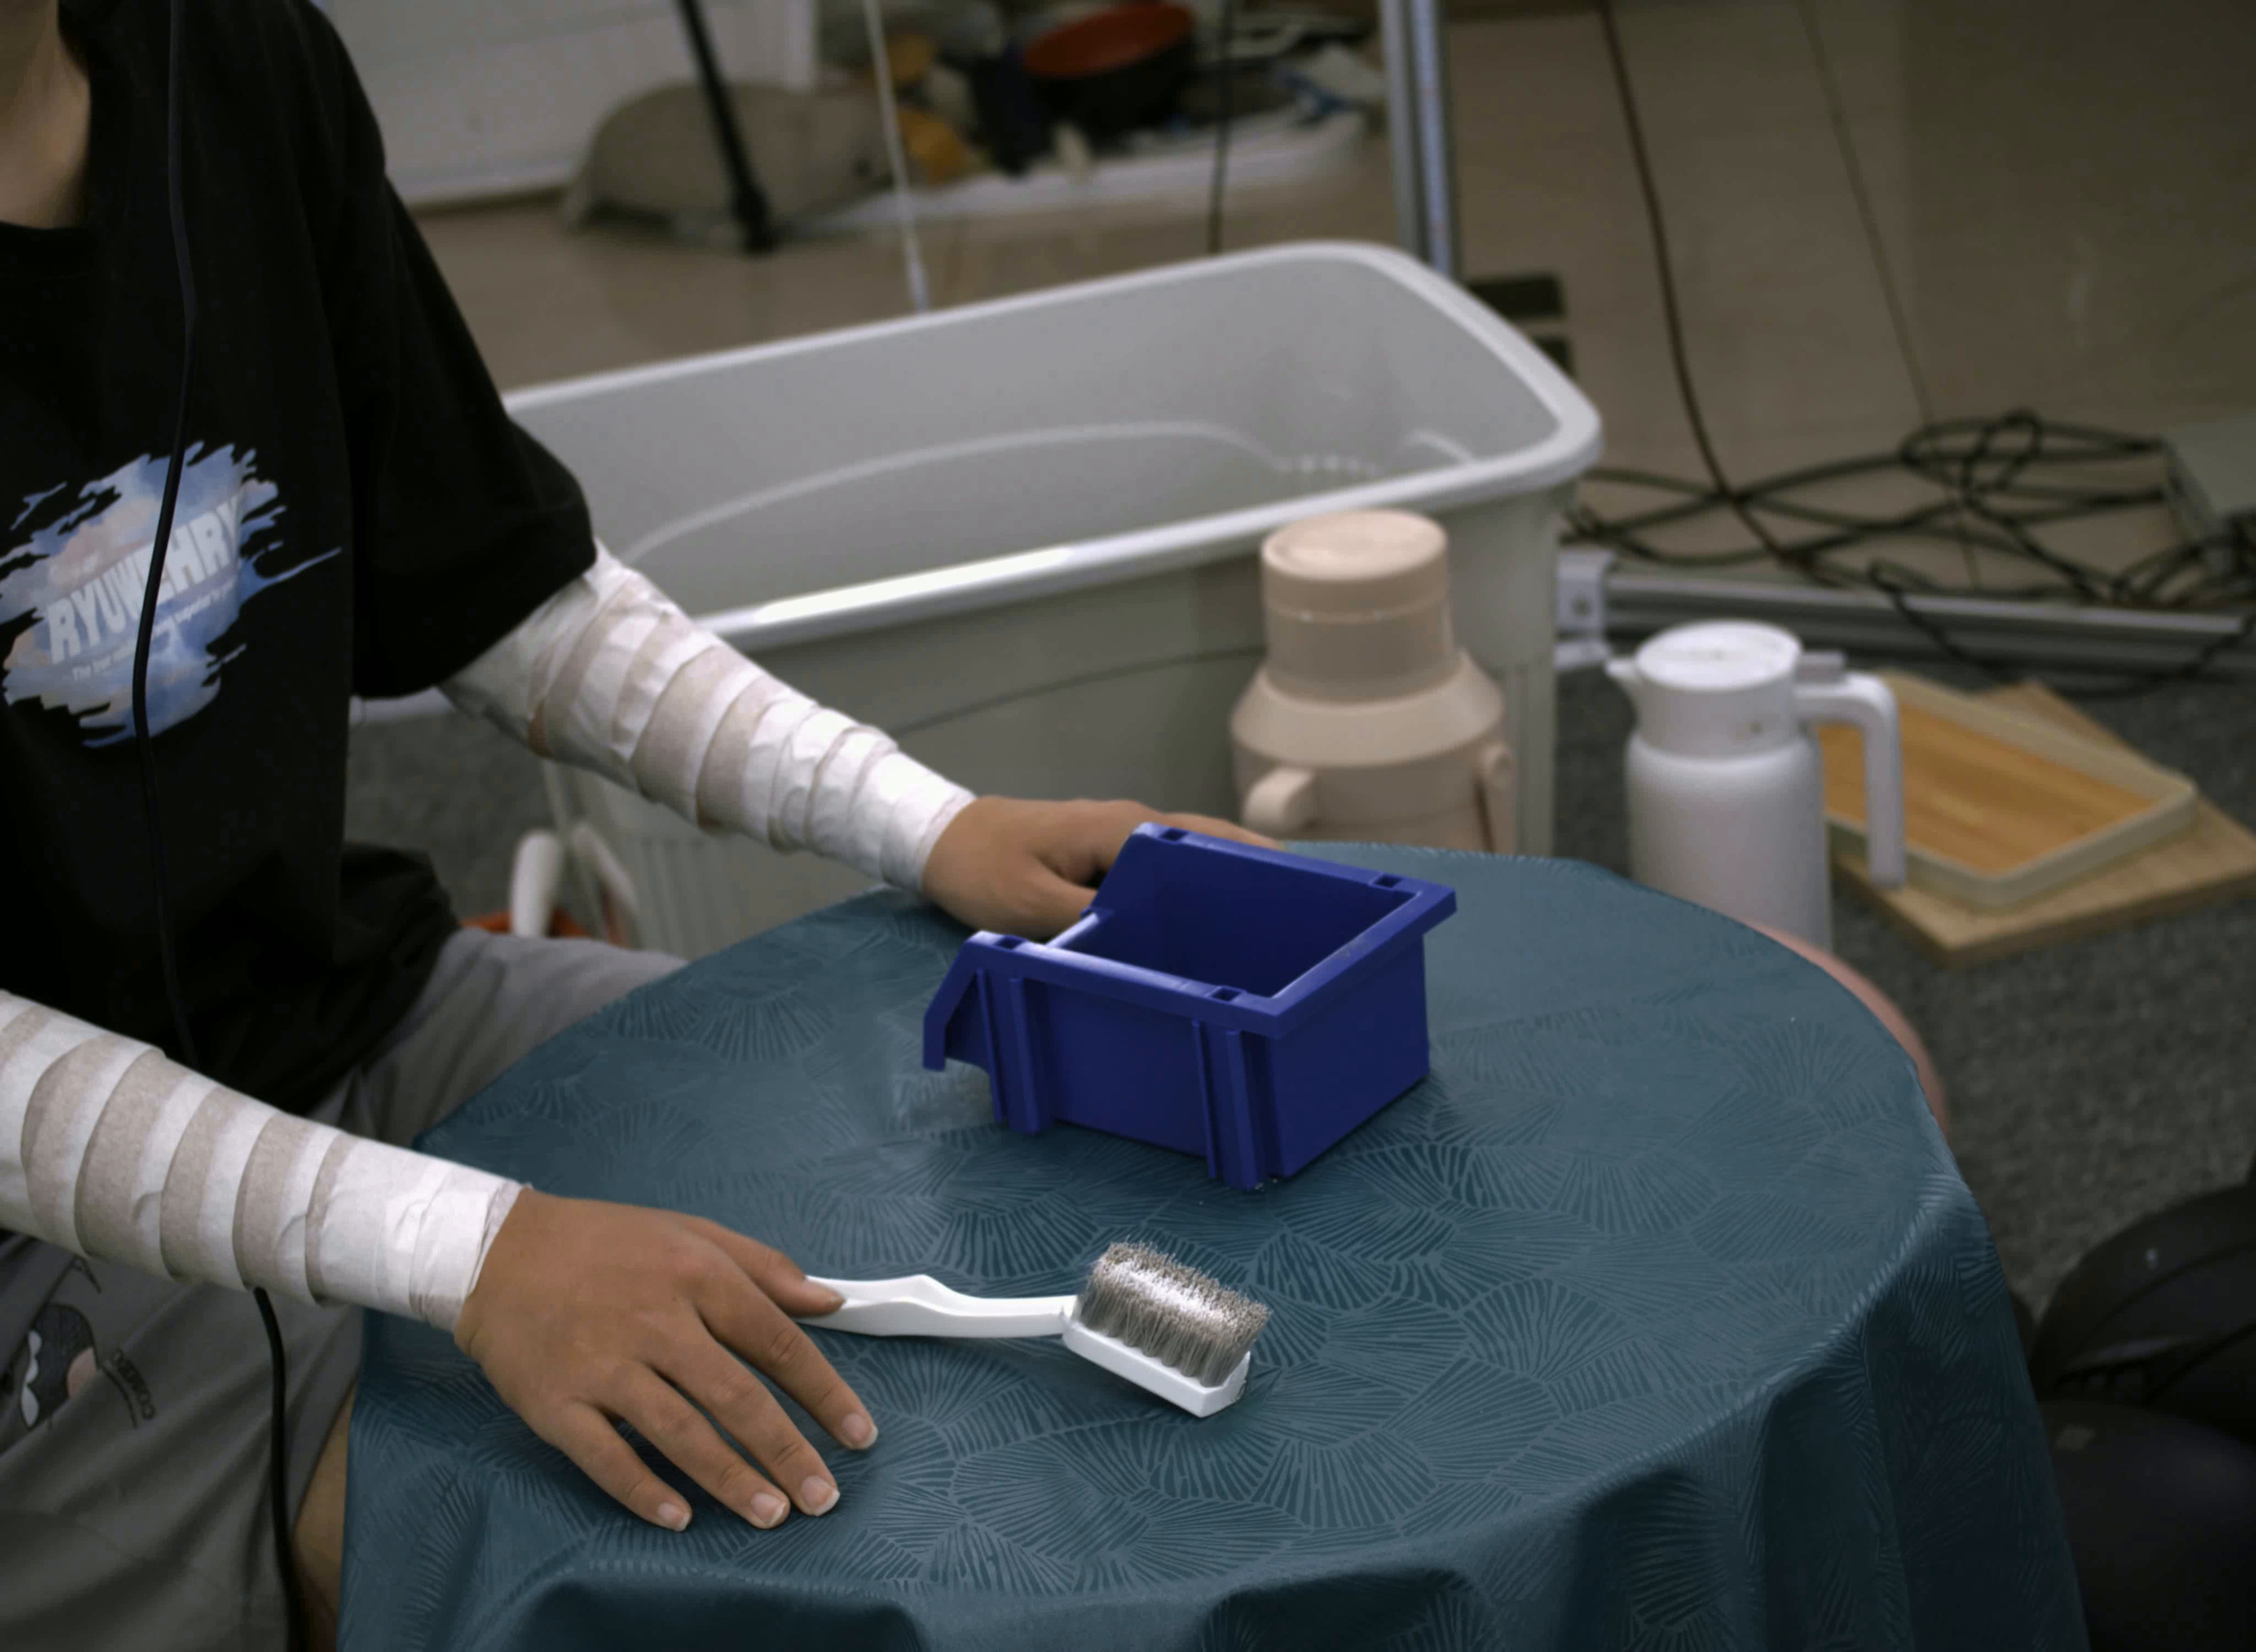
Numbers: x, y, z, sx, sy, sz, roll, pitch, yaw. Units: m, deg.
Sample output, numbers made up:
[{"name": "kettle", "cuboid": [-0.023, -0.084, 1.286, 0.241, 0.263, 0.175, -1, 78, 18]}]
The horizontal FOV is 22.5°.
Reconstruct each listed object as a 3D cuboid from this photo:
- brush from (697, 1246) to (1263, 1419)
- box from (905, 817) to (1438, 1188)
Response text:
[{"name": "brush", "cuboid": [-0.059, 0.164, 2.047, 0.242, 0.051, 0.034, 11, 31, 32]}, {"name": "box", "cuboid": [0.015, 0.066, 2.204, 0.178, 0.083, 0.123, 15, 33, 36]}]
